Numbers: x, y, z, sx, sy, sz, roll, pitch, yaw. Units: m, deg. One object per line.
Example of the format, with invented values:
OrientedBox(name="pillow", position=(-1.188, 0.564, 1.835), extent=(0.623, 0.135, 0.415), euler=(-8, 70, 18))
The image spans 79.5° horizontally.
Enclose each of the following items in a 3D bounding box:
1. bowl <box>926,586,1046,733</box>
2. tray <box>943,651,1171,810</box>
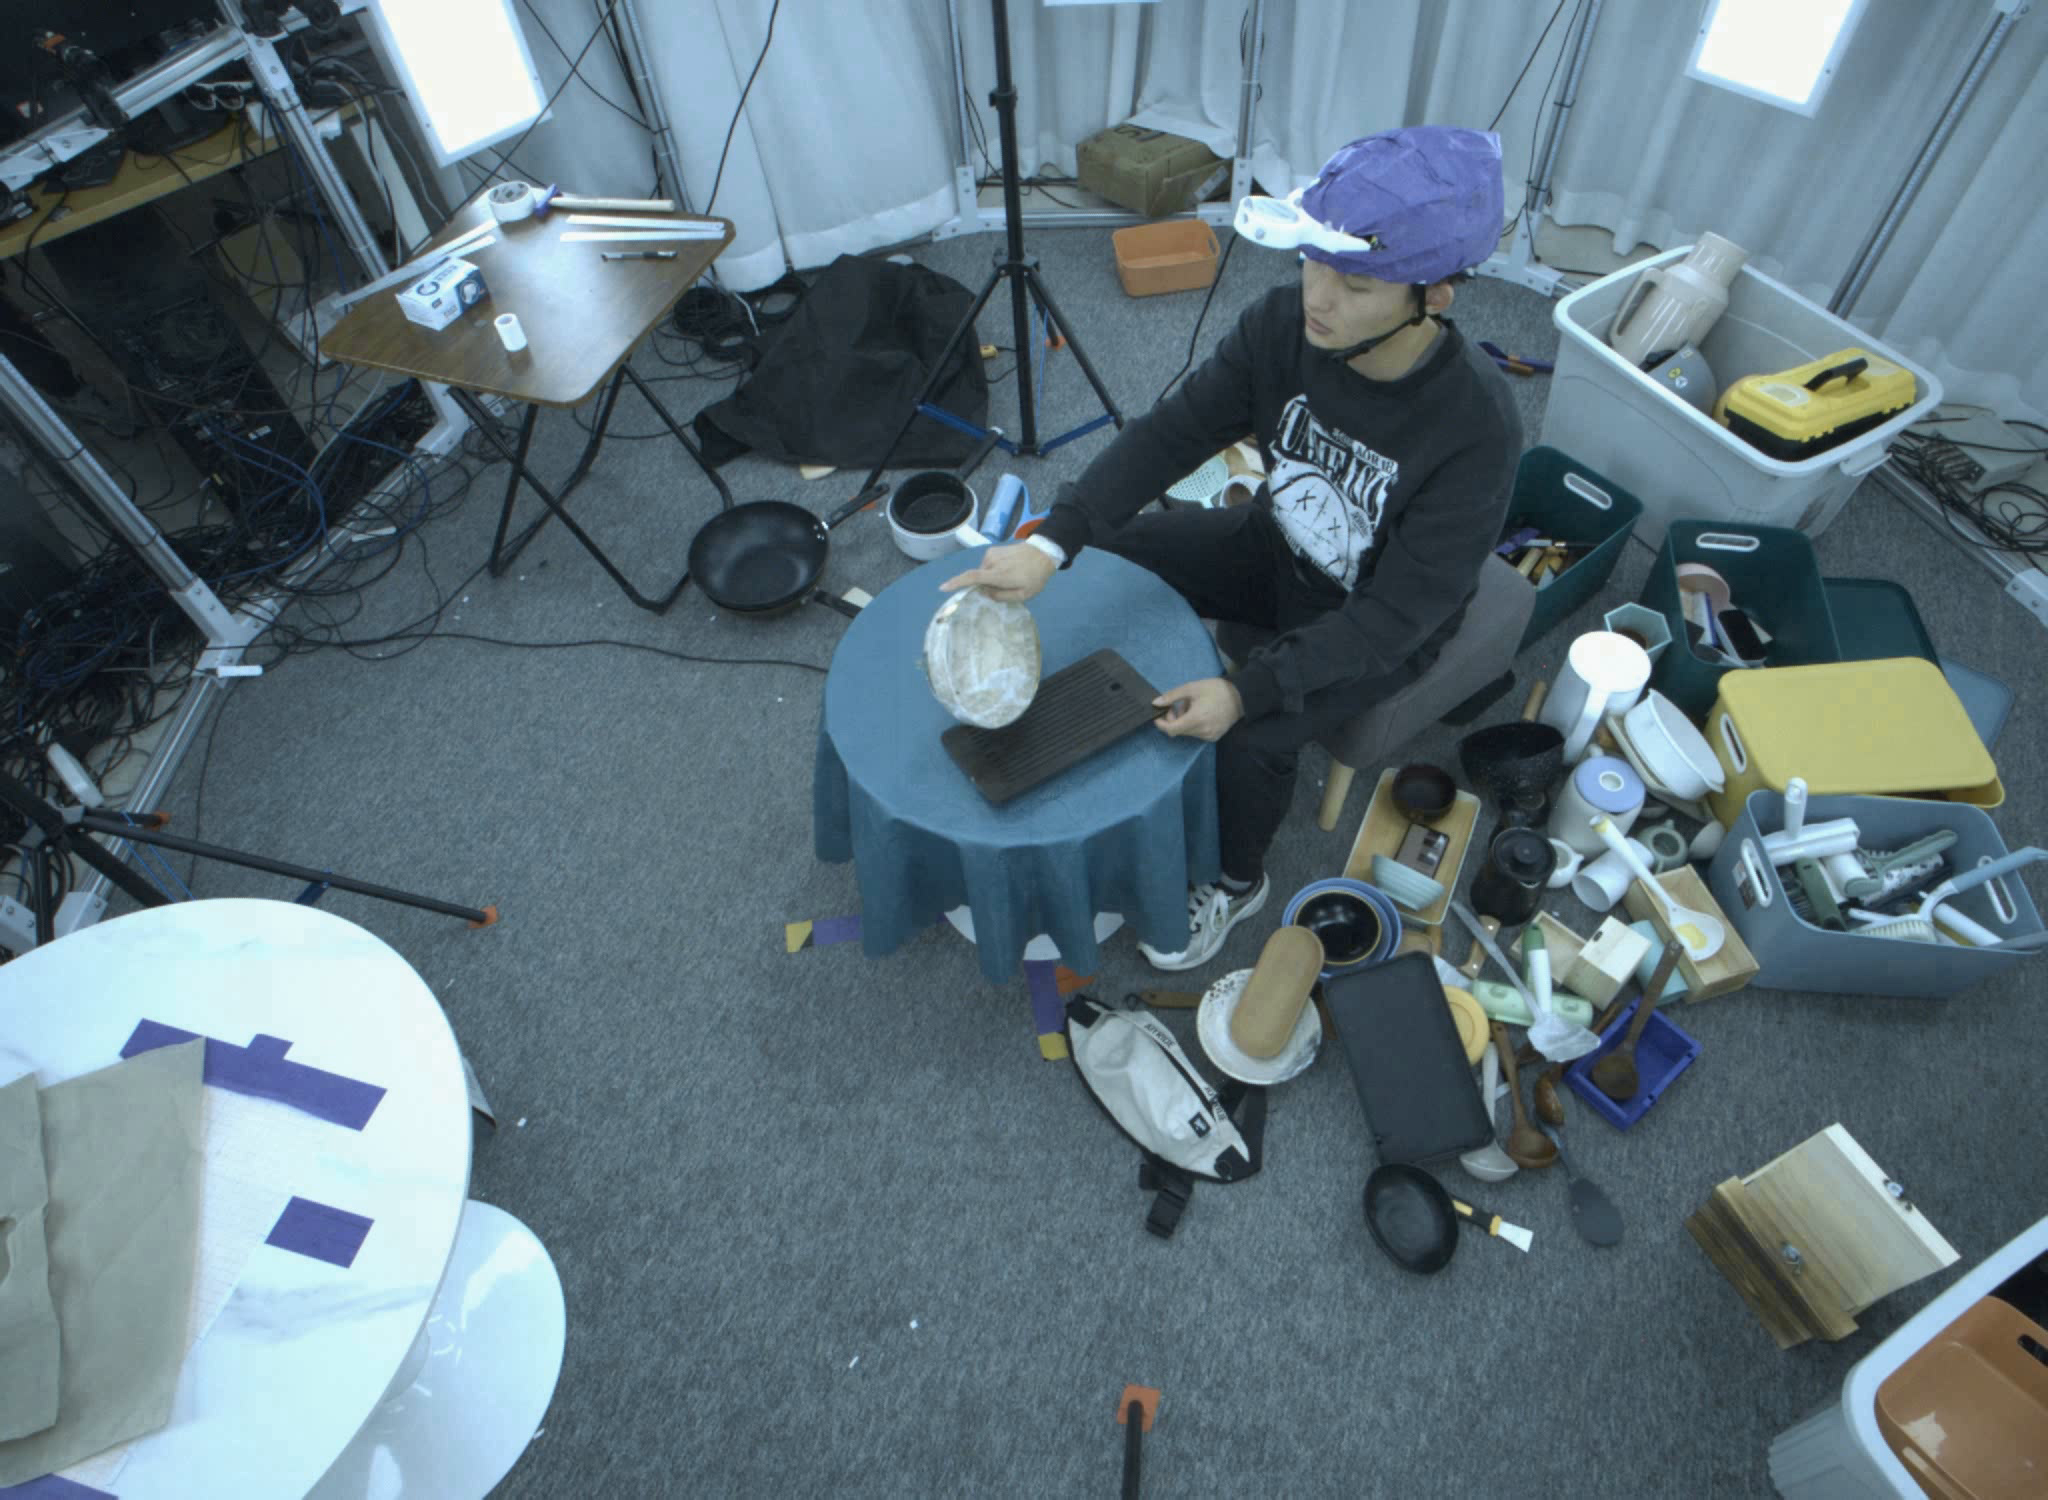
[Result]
OrientedBox(name="bowl", position=(-0.067, -0.125, 1.736), extent=(0.092, 0.219, 0.215), euler=(1, 49, 40))
OrientedBox(name="tray", position=(0.049, -0.032, 1.795), extent=(0.308, 0.019, 0.166), euler=(-28, 51, -17))
